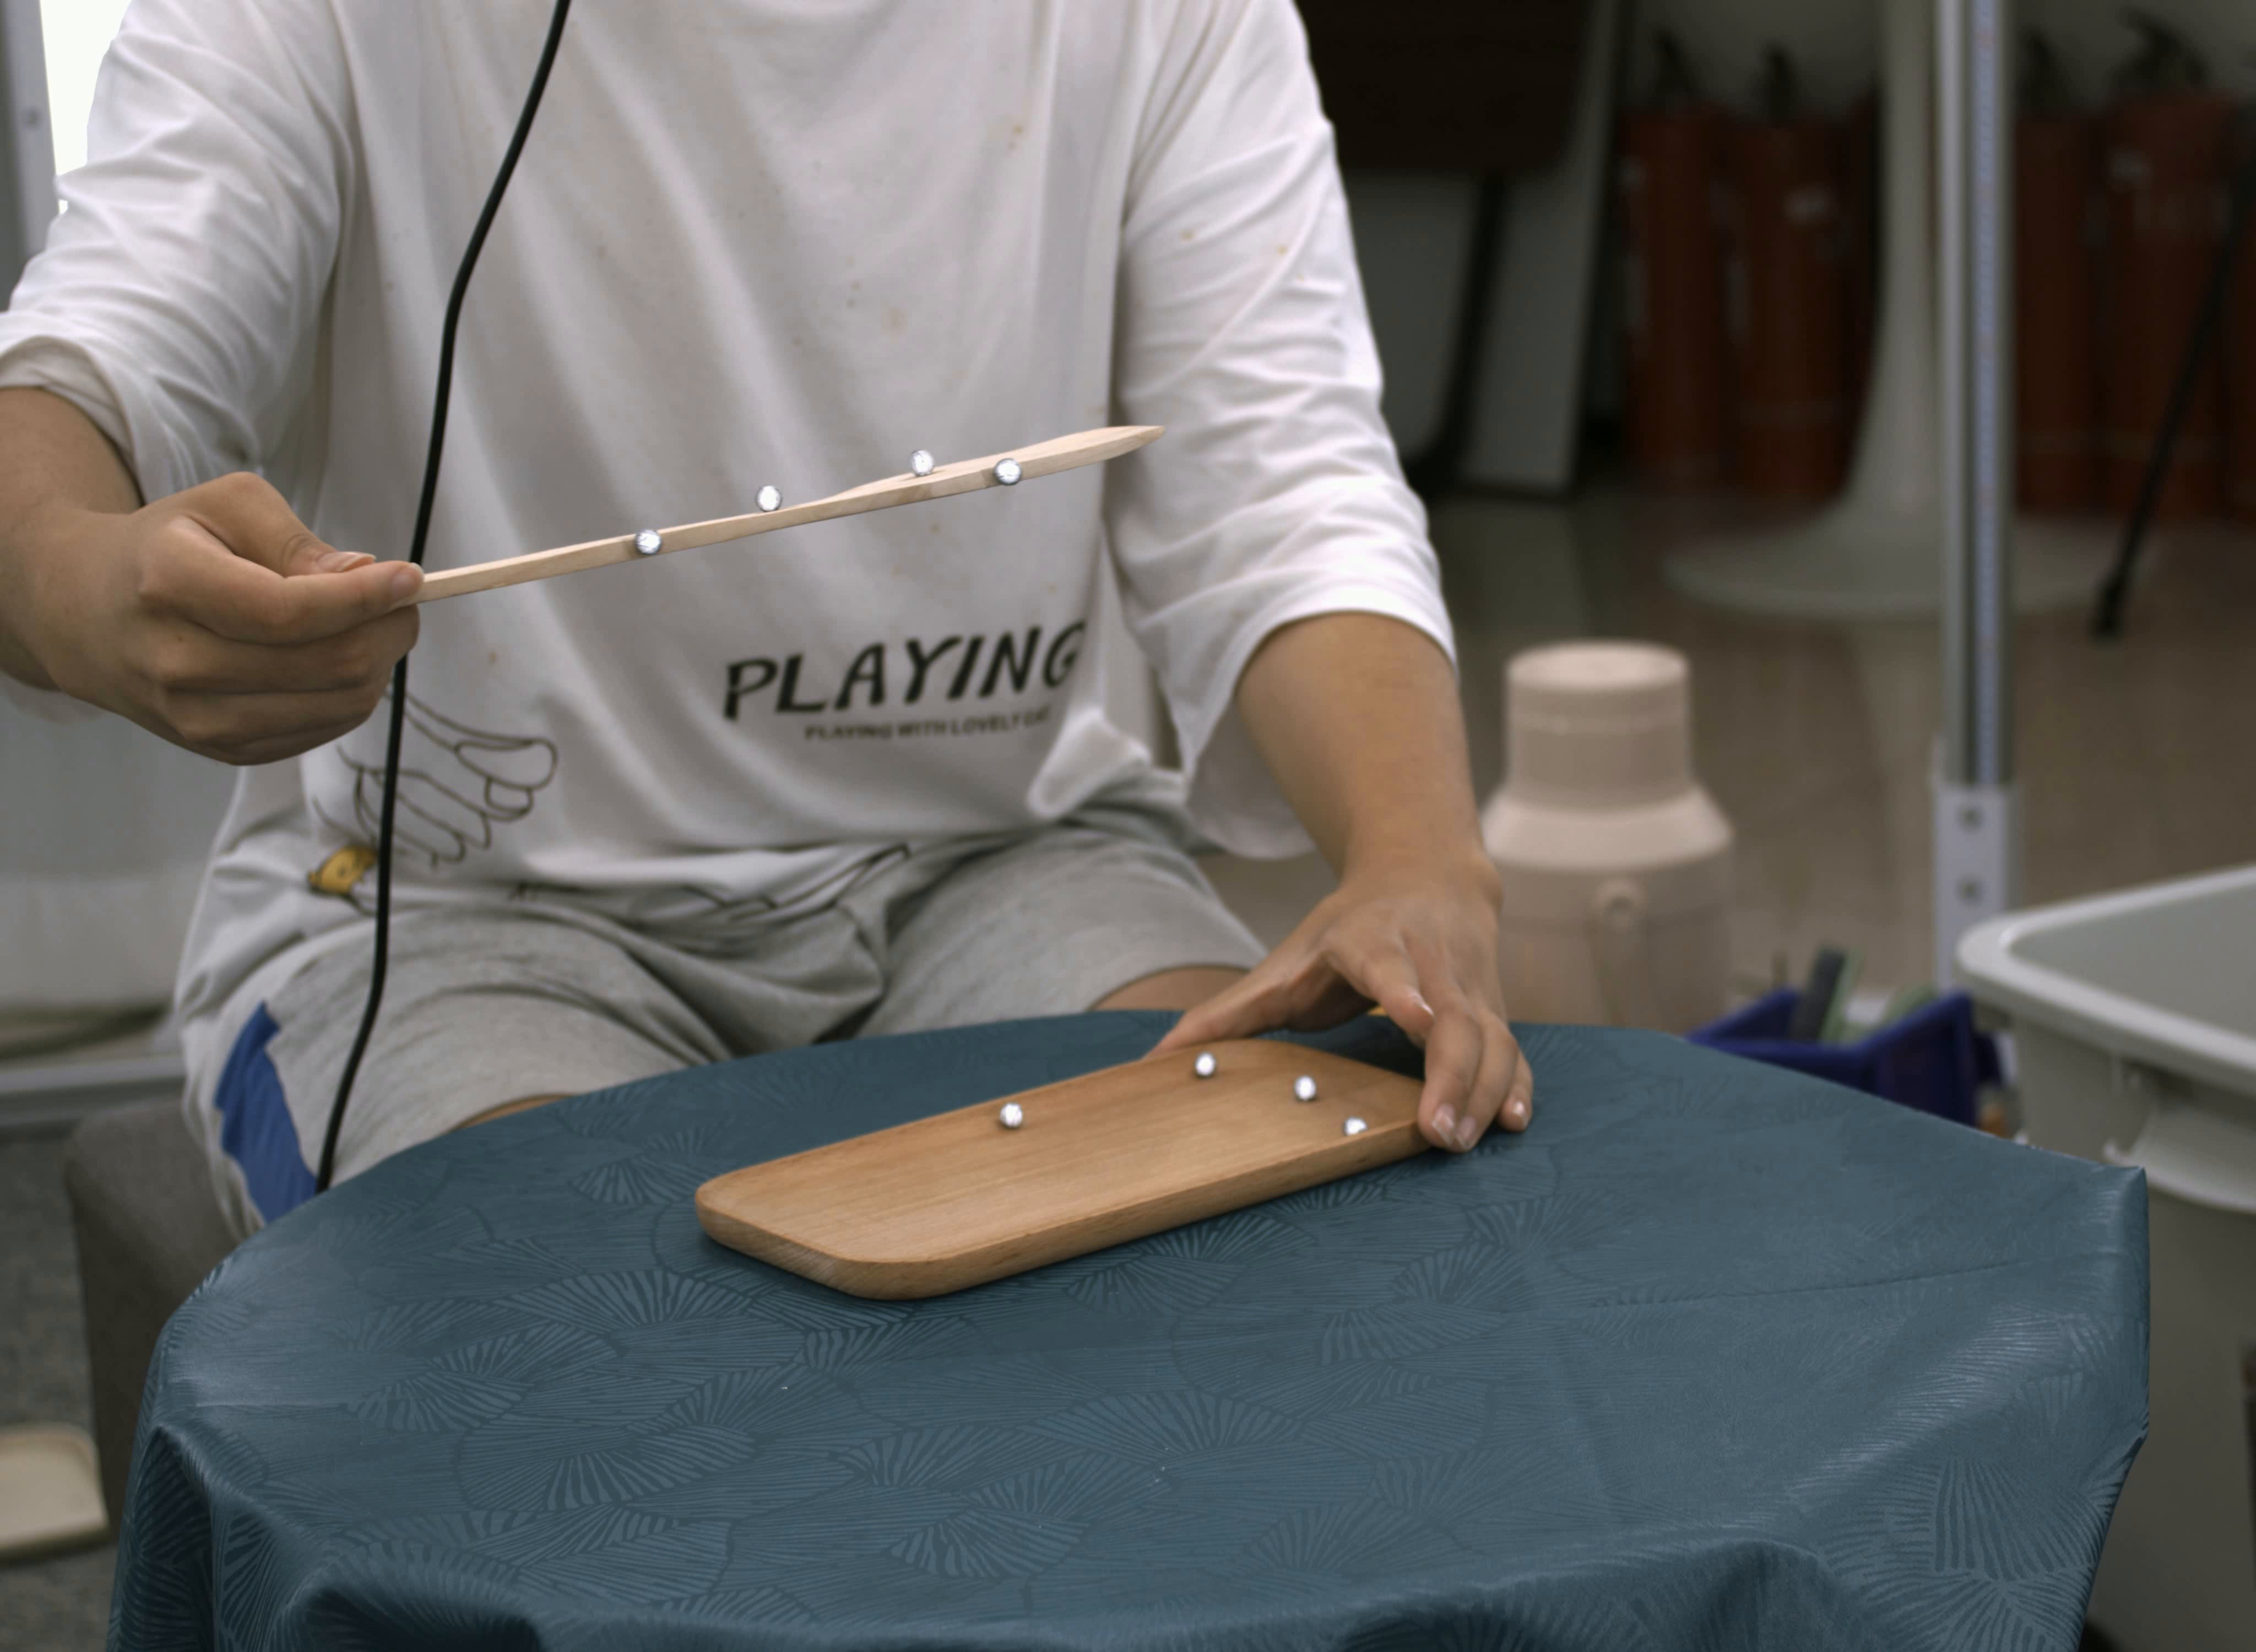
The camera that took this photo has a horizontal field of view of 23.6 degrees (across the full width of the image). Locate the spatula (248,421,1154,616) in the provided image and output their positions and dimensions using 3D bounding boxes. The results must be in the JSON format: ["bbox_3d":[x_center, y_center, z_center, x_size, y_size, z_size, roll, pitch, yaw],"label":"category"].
[{"bbox_3d":[-0.130,-0.094,1.664,0.287,0.011,0.073,-13,7,-23],"label":"spatula"}]

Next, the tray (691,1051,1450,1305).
[{"bbox_3d":[-0.017,0.115,1.780,0.245,0.023,0.132,-13,13,-34],"label":"tray"}]
